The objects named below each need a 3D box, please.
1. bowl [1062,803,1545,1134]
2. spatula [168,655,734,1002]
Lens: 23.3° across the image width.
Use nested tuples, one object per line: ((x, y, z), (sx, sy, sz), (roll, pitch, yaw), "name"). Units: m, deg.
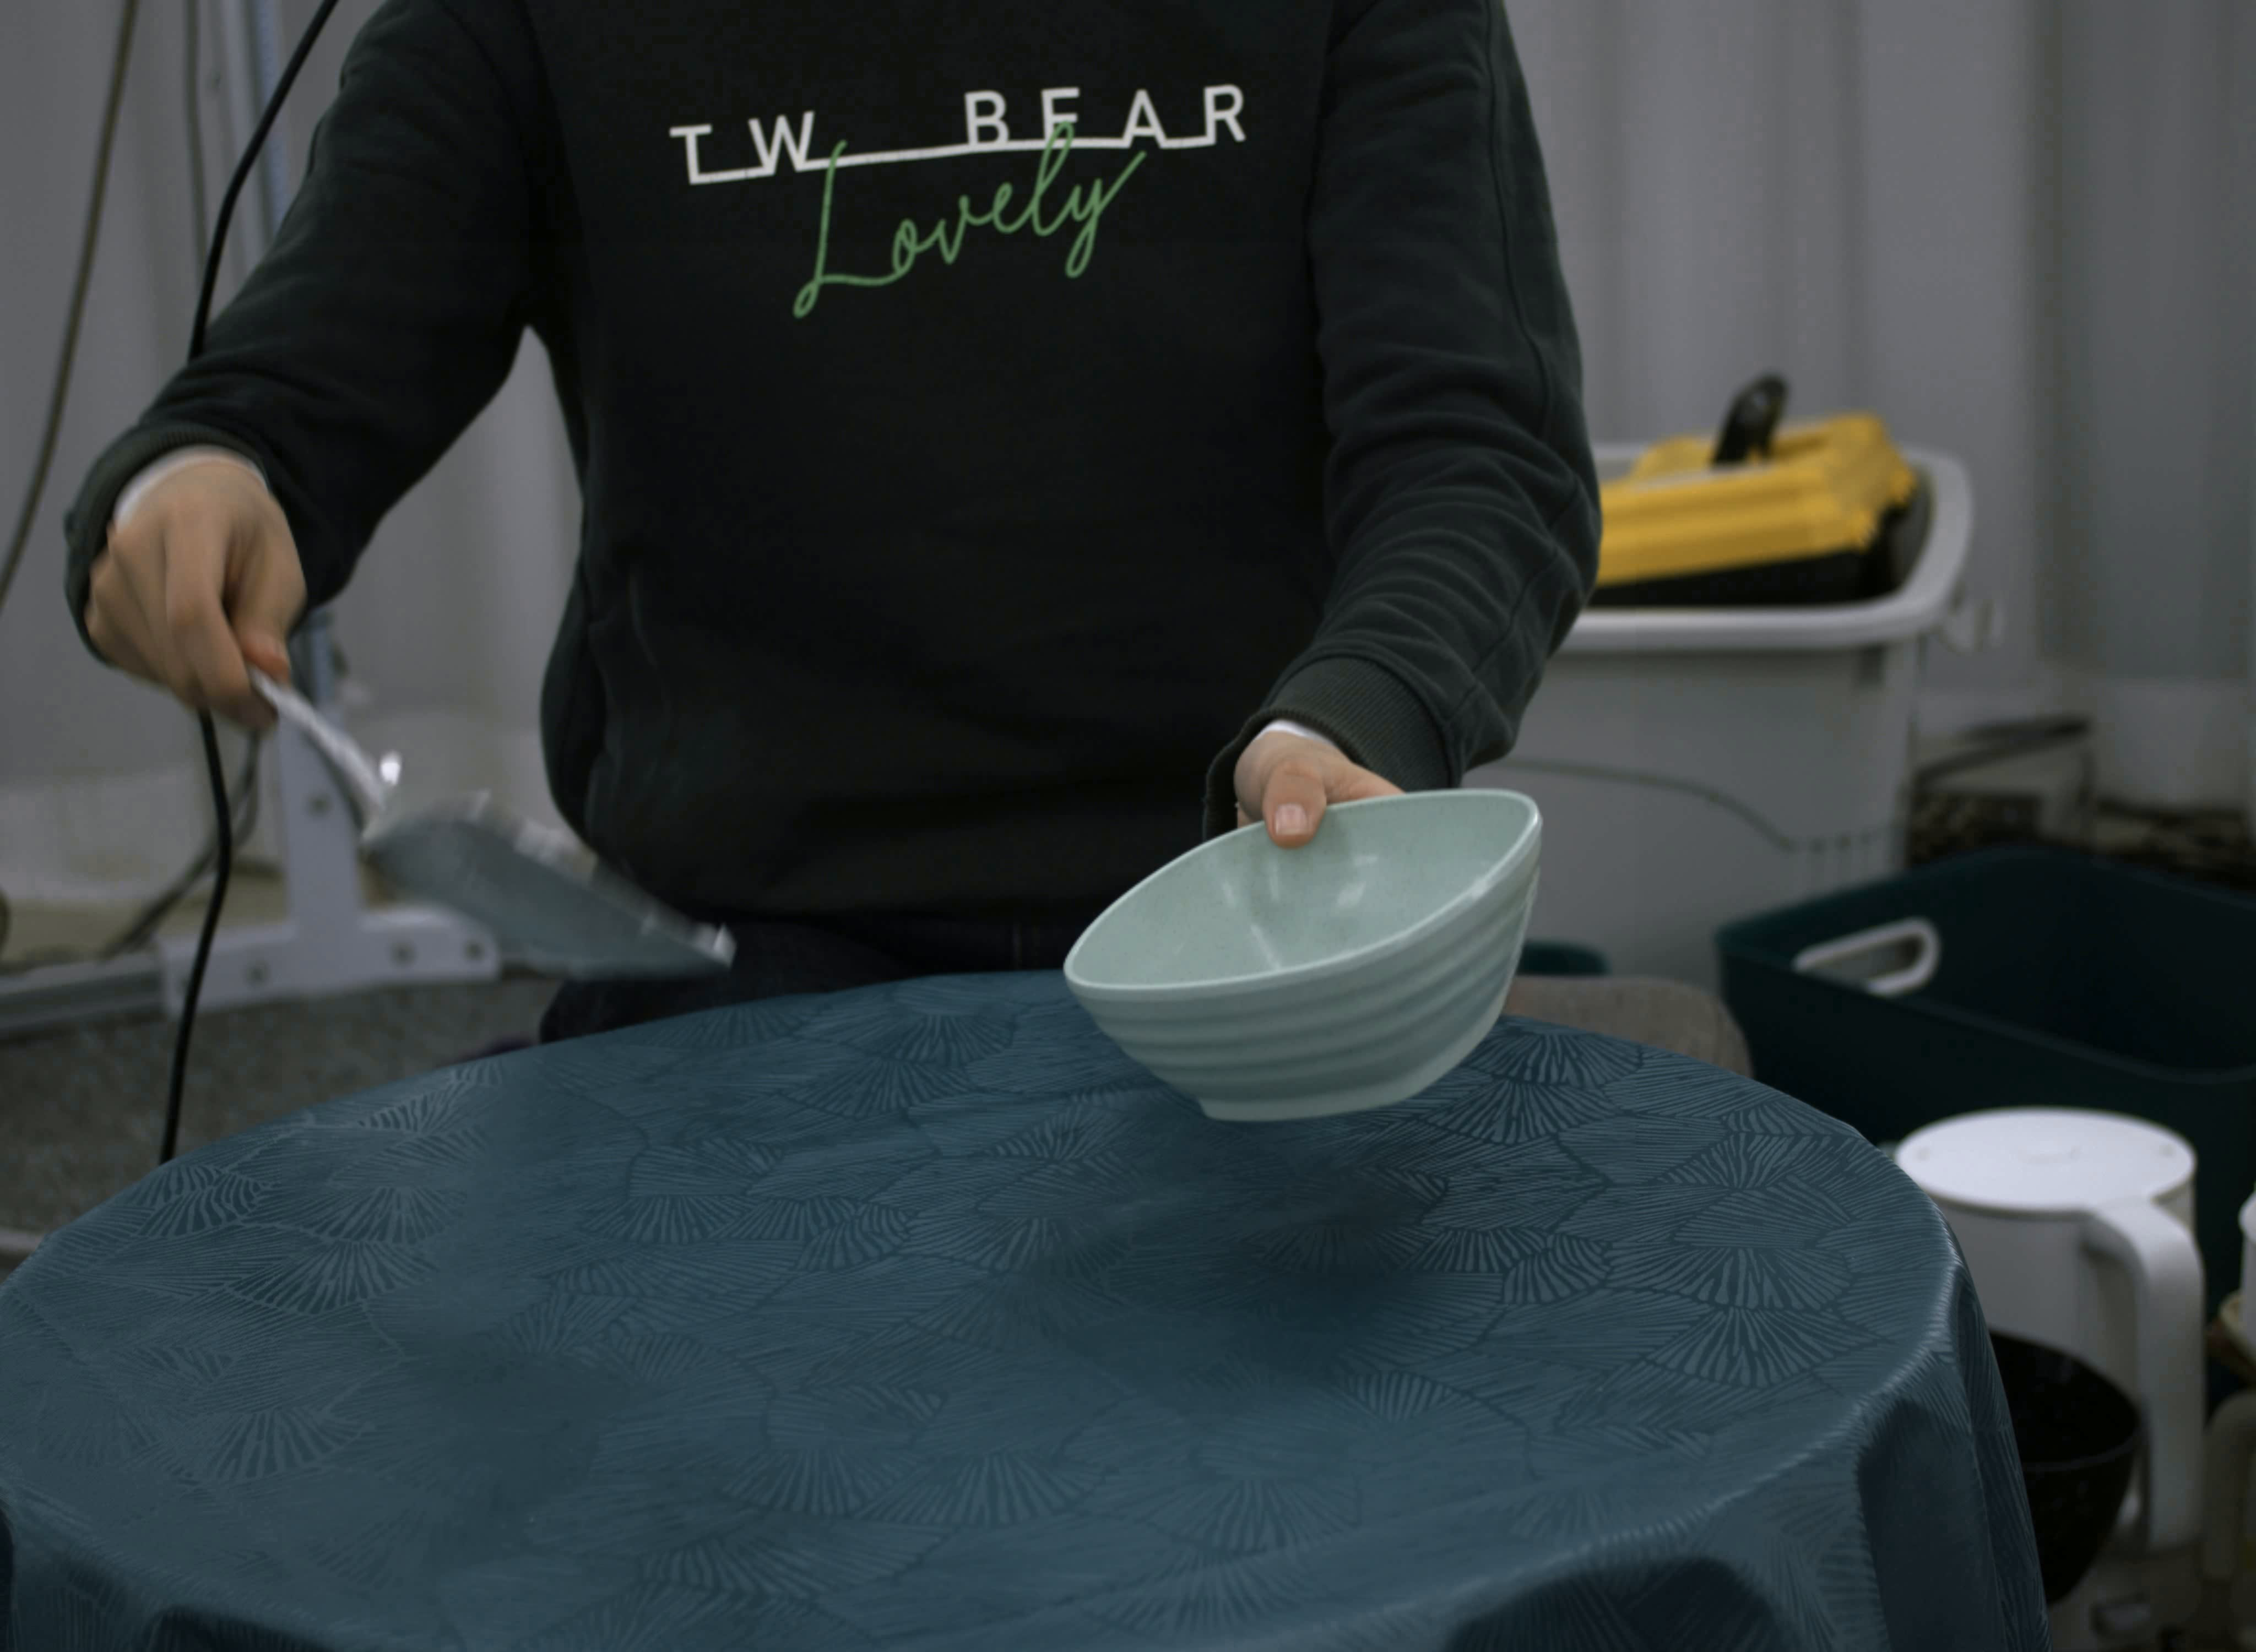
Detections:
((0.059, 0.048, 1.635), (0.151, 0.058, 0.153), (-15, 18, 5), "bowl")
((-0.224, -0.012, 1.629), (0.097, 0.045, 0.368), (28, 4, -32), "spatula")
